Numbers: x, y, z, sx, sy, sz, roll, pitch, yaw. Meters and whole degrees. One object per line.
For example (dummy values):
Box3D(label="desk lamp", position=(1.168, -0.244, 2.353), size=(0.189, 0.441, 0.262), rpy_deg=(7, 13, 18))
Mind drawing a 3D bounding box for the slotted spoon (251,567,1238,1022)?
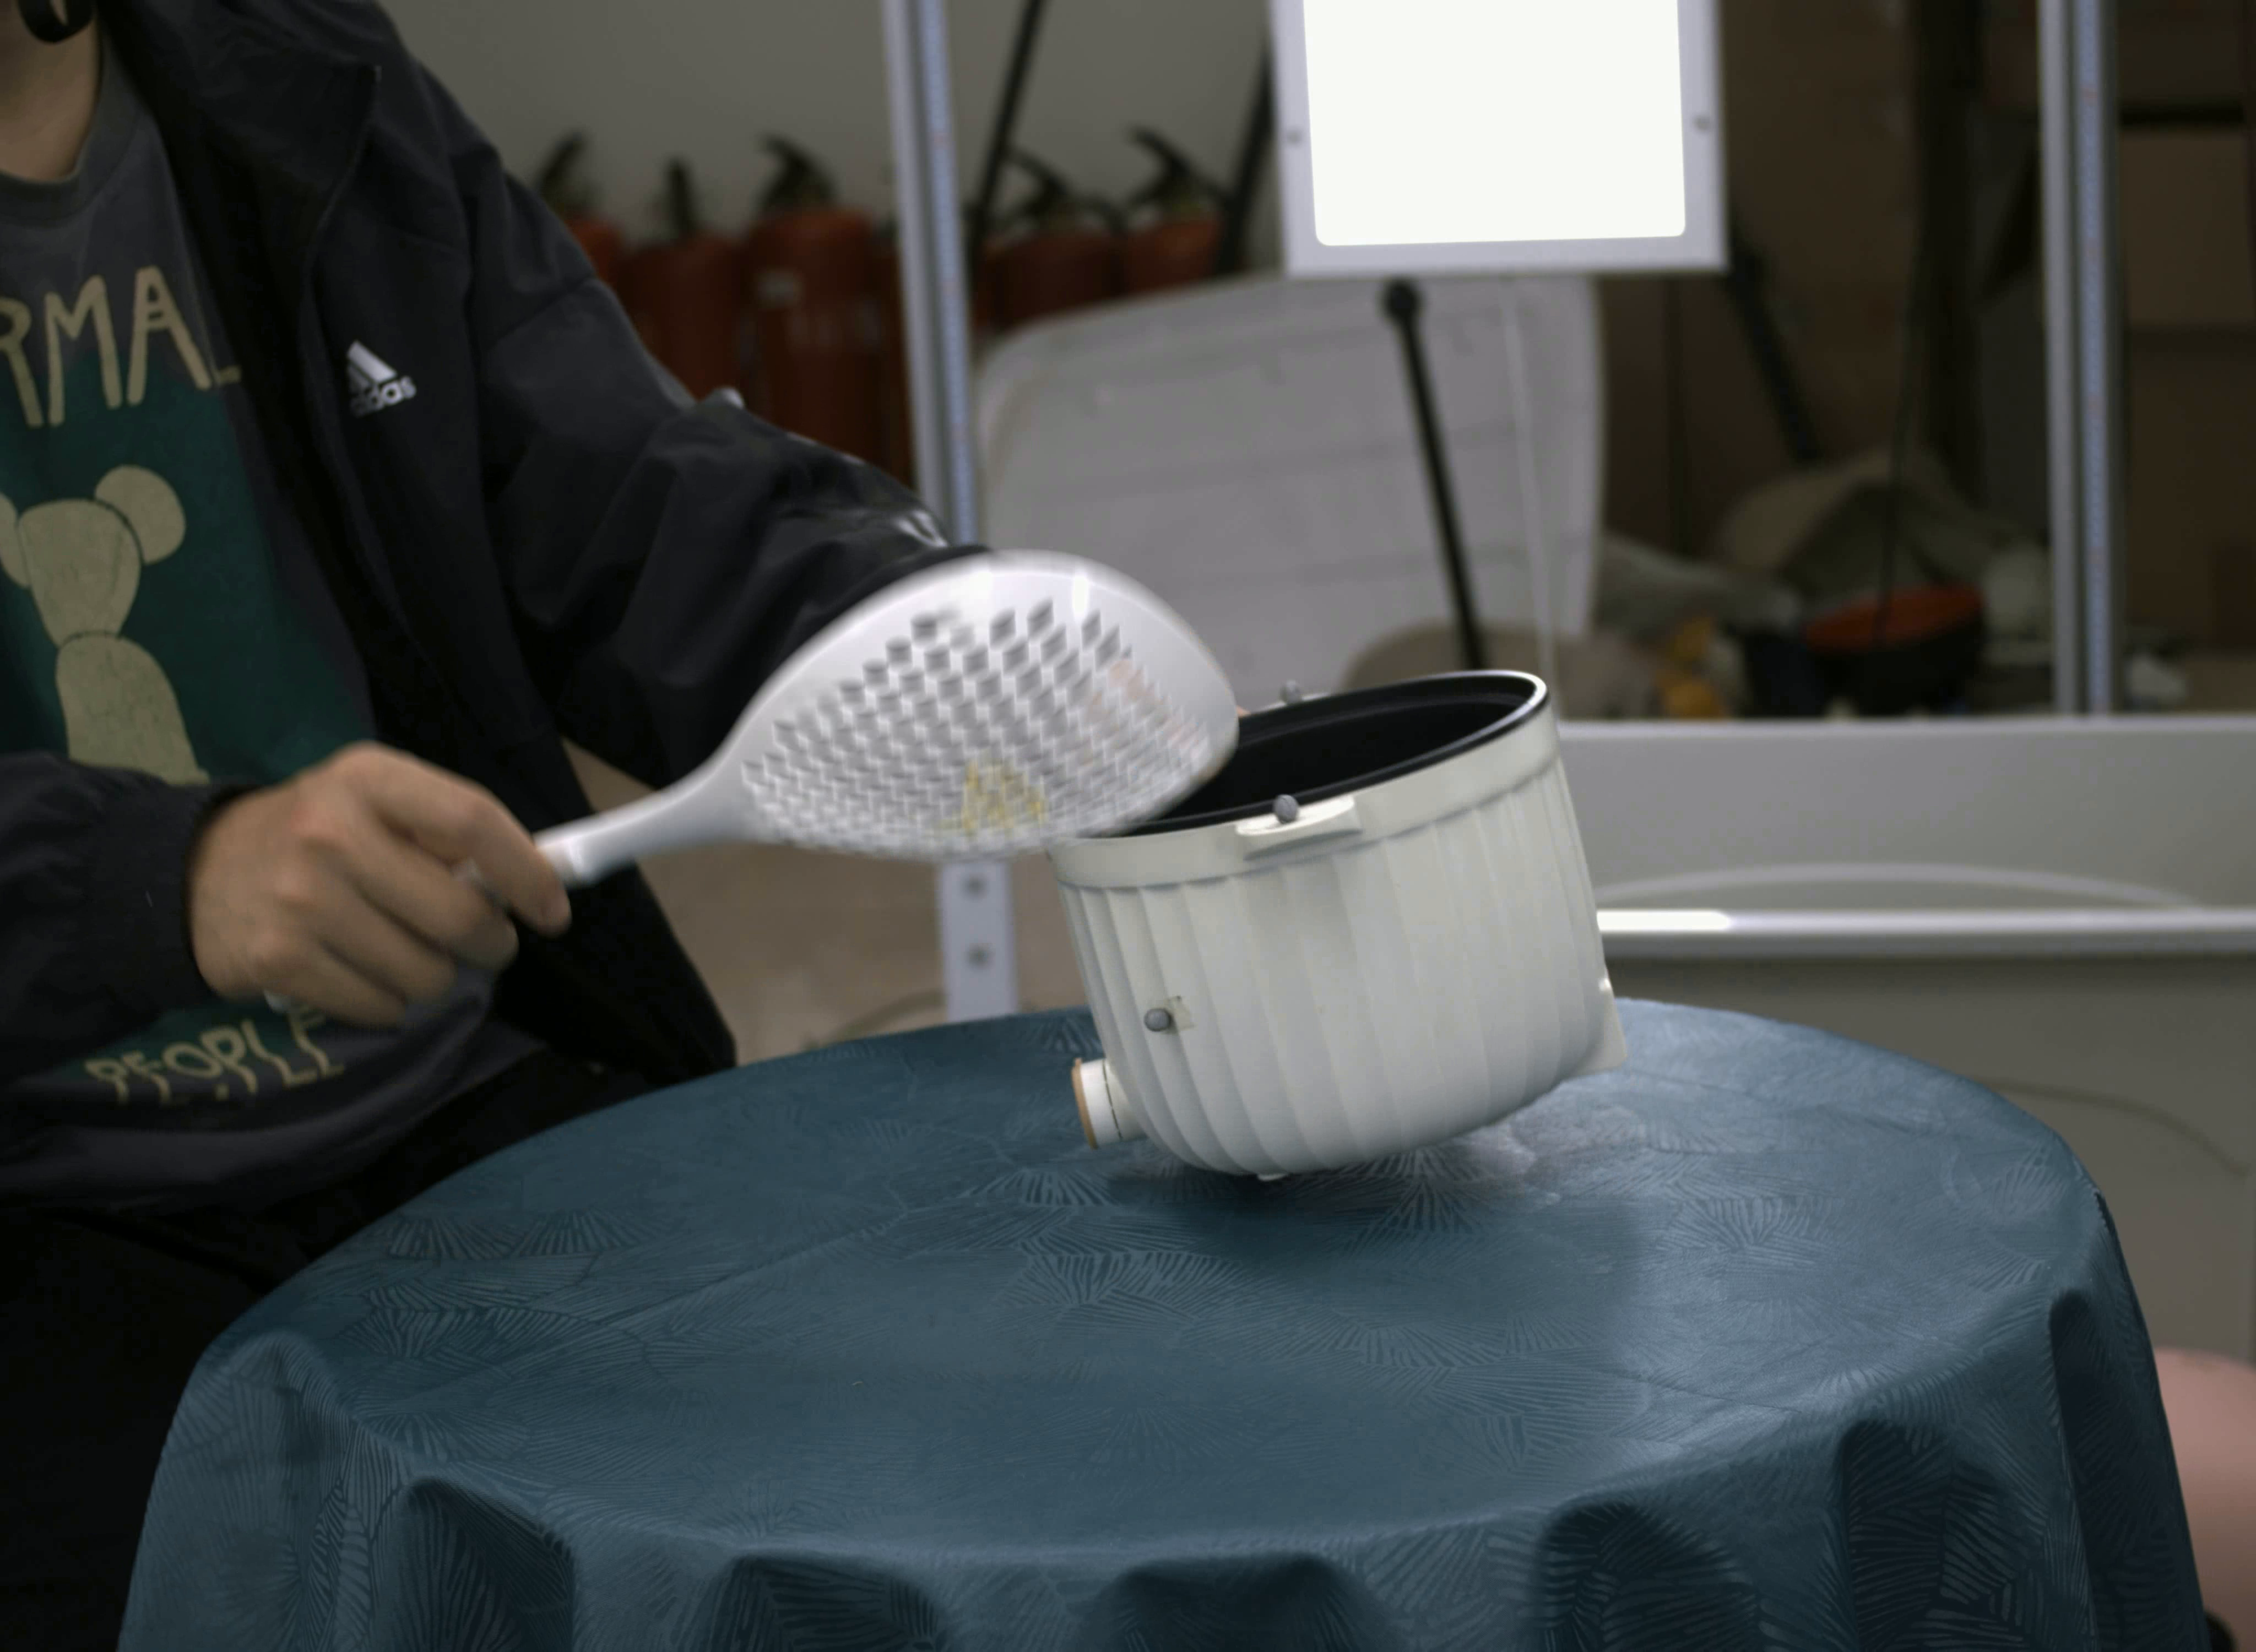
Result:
Box3D(label="slotted spoon", position=(-0.130, 0.006, 1.764), size=(0.354, 0.135, 0.050), rpy_deg=(-15, 52, 27))

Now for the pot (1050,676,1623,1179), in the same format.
Box3D(label="pot", position=(0.067, 0.038, 1.891), size=(0.191, 0.143, 0.239), rpy_deg=(-10, 9, 4))
